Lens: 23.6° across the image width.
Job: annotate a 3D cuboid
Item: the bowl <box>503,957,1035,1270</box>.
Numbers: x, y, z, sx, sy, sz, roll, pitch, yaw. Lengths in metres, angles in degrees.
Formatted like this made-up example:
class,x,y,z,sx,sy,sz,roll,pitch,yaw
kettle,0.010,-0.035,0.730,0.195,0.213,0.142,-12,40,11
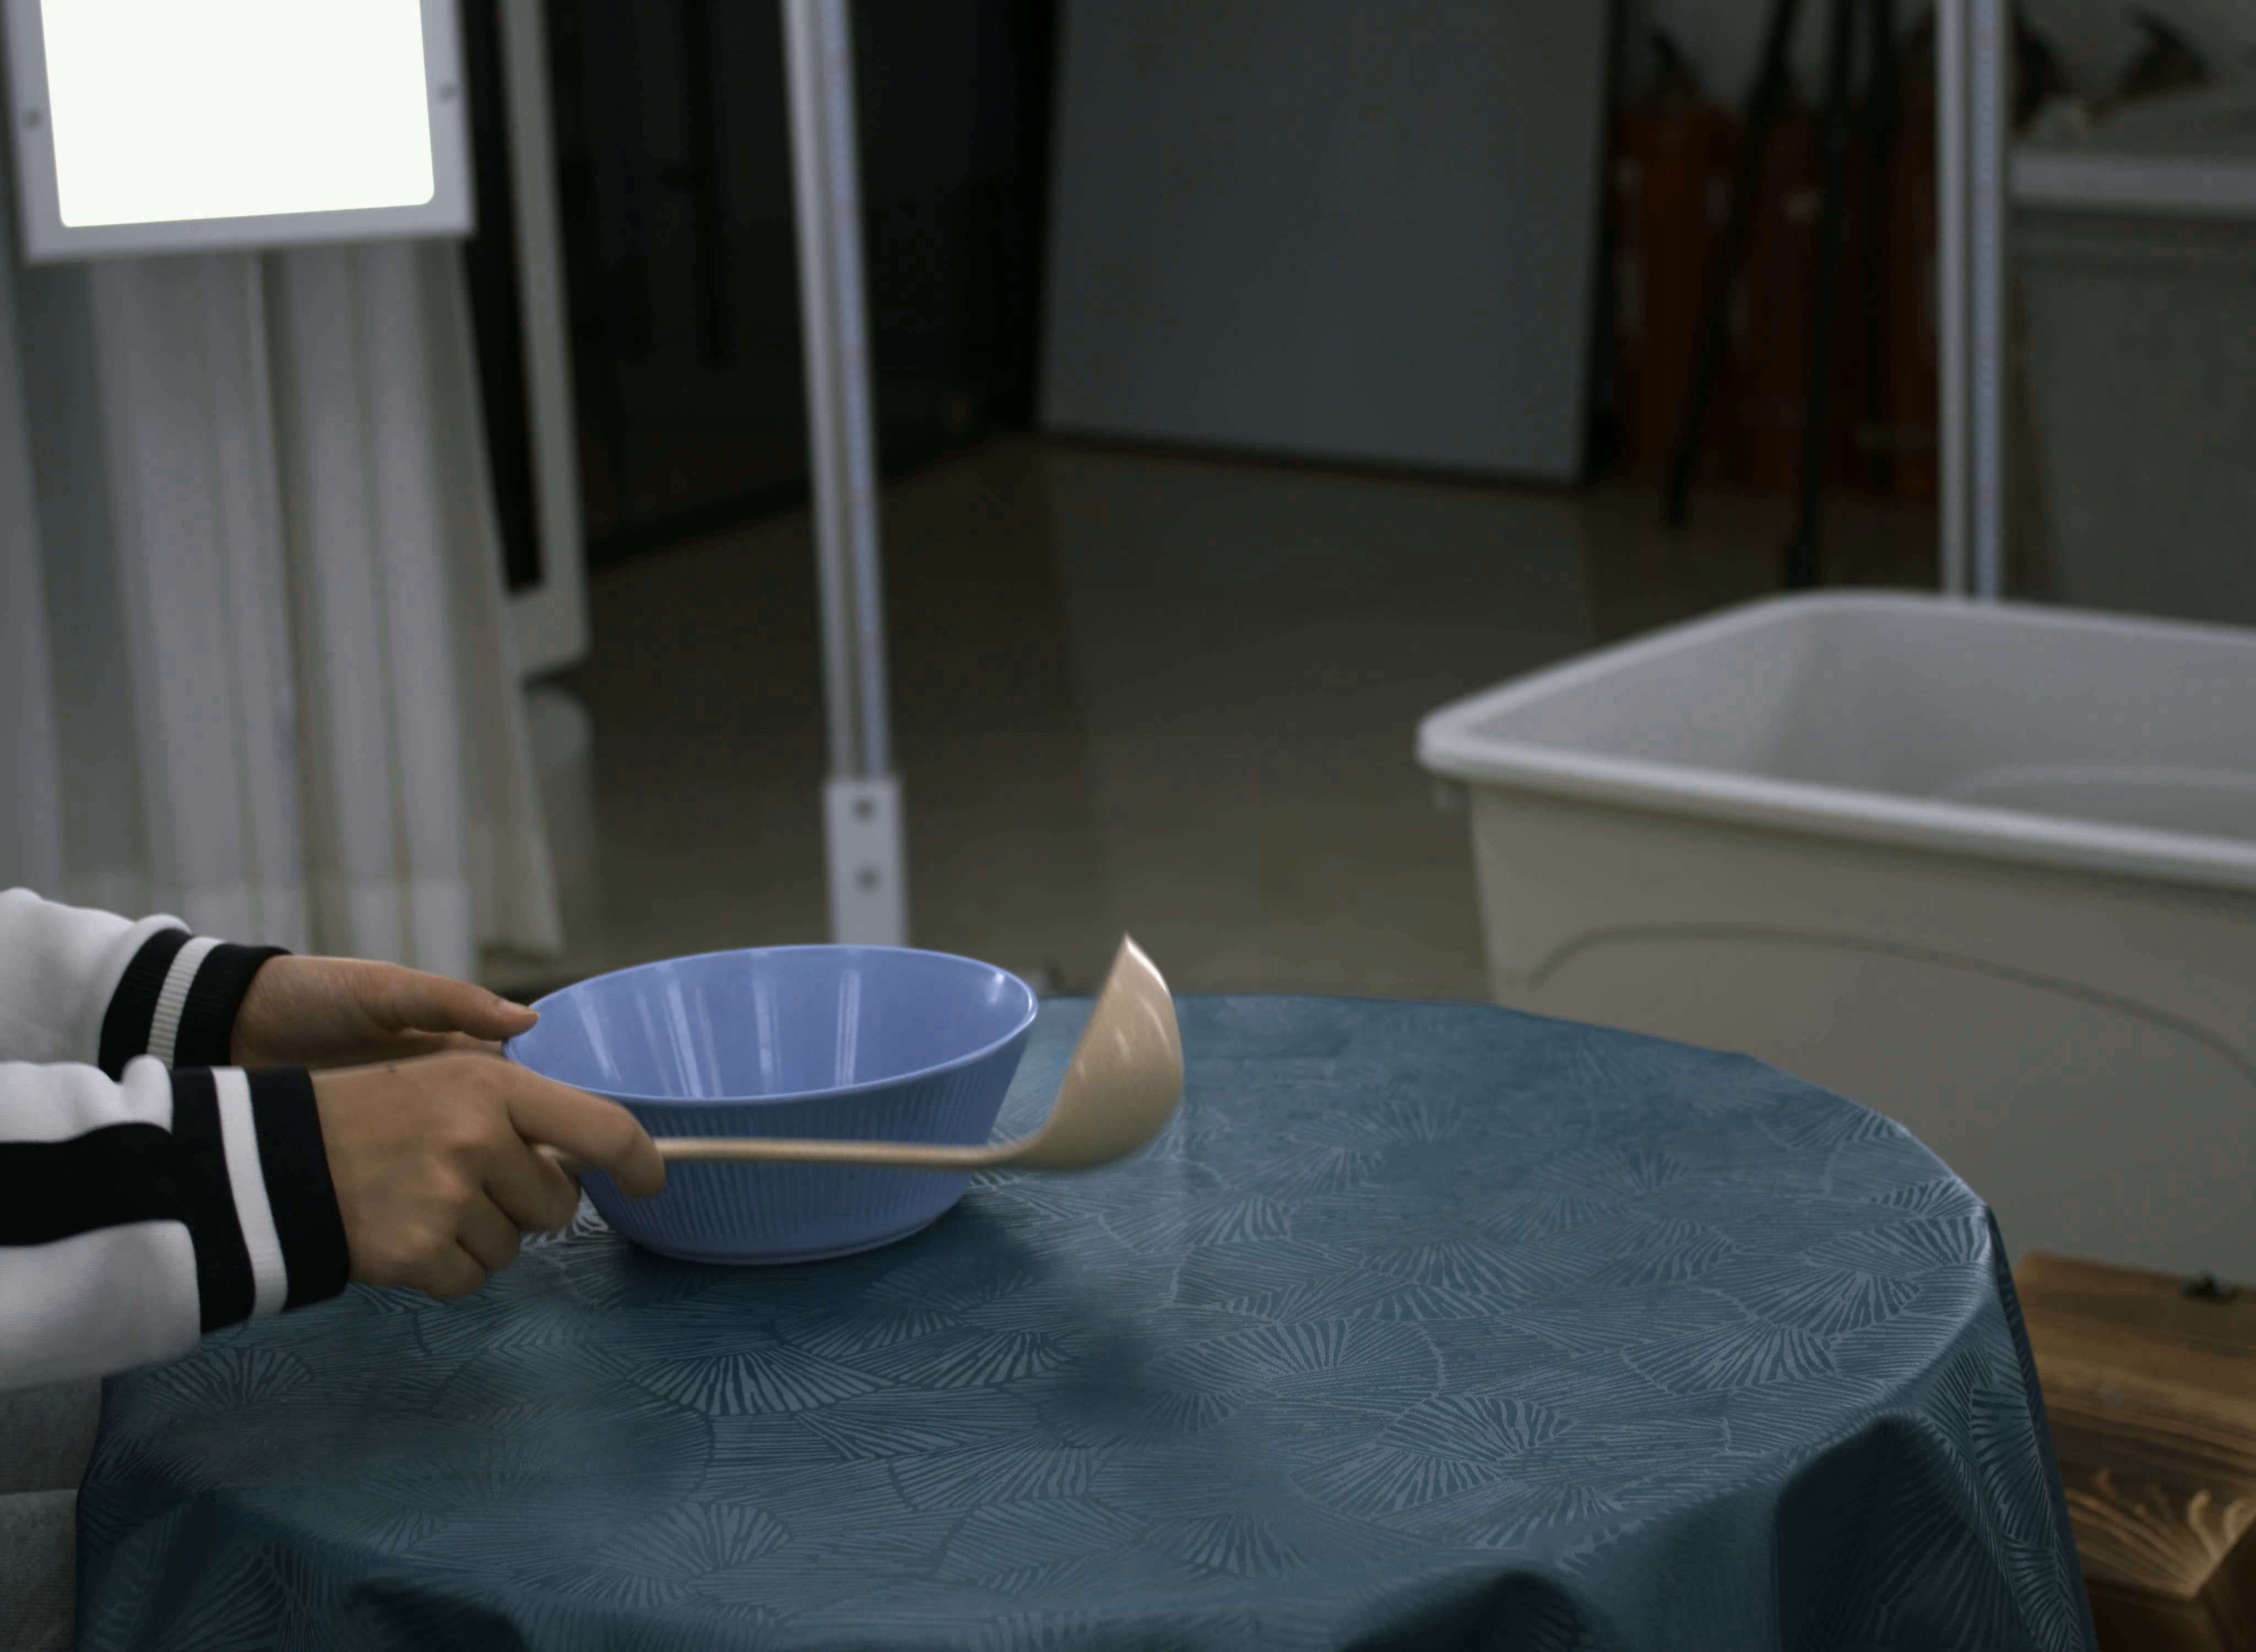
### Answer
class,x,y,z,sx,sy,sz,roll,pitch,yaw
bowl,-0.114,0.096,1.761,0.174,0.071,0.176,-4,12,0

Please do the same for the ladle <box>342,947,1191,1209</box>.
class,x,y,z,sx,sy,sz,roll,pitch,yaw
ladle,-0.107,0.074,1.603,0.250,0.074,0.072,-1,-16,-9
